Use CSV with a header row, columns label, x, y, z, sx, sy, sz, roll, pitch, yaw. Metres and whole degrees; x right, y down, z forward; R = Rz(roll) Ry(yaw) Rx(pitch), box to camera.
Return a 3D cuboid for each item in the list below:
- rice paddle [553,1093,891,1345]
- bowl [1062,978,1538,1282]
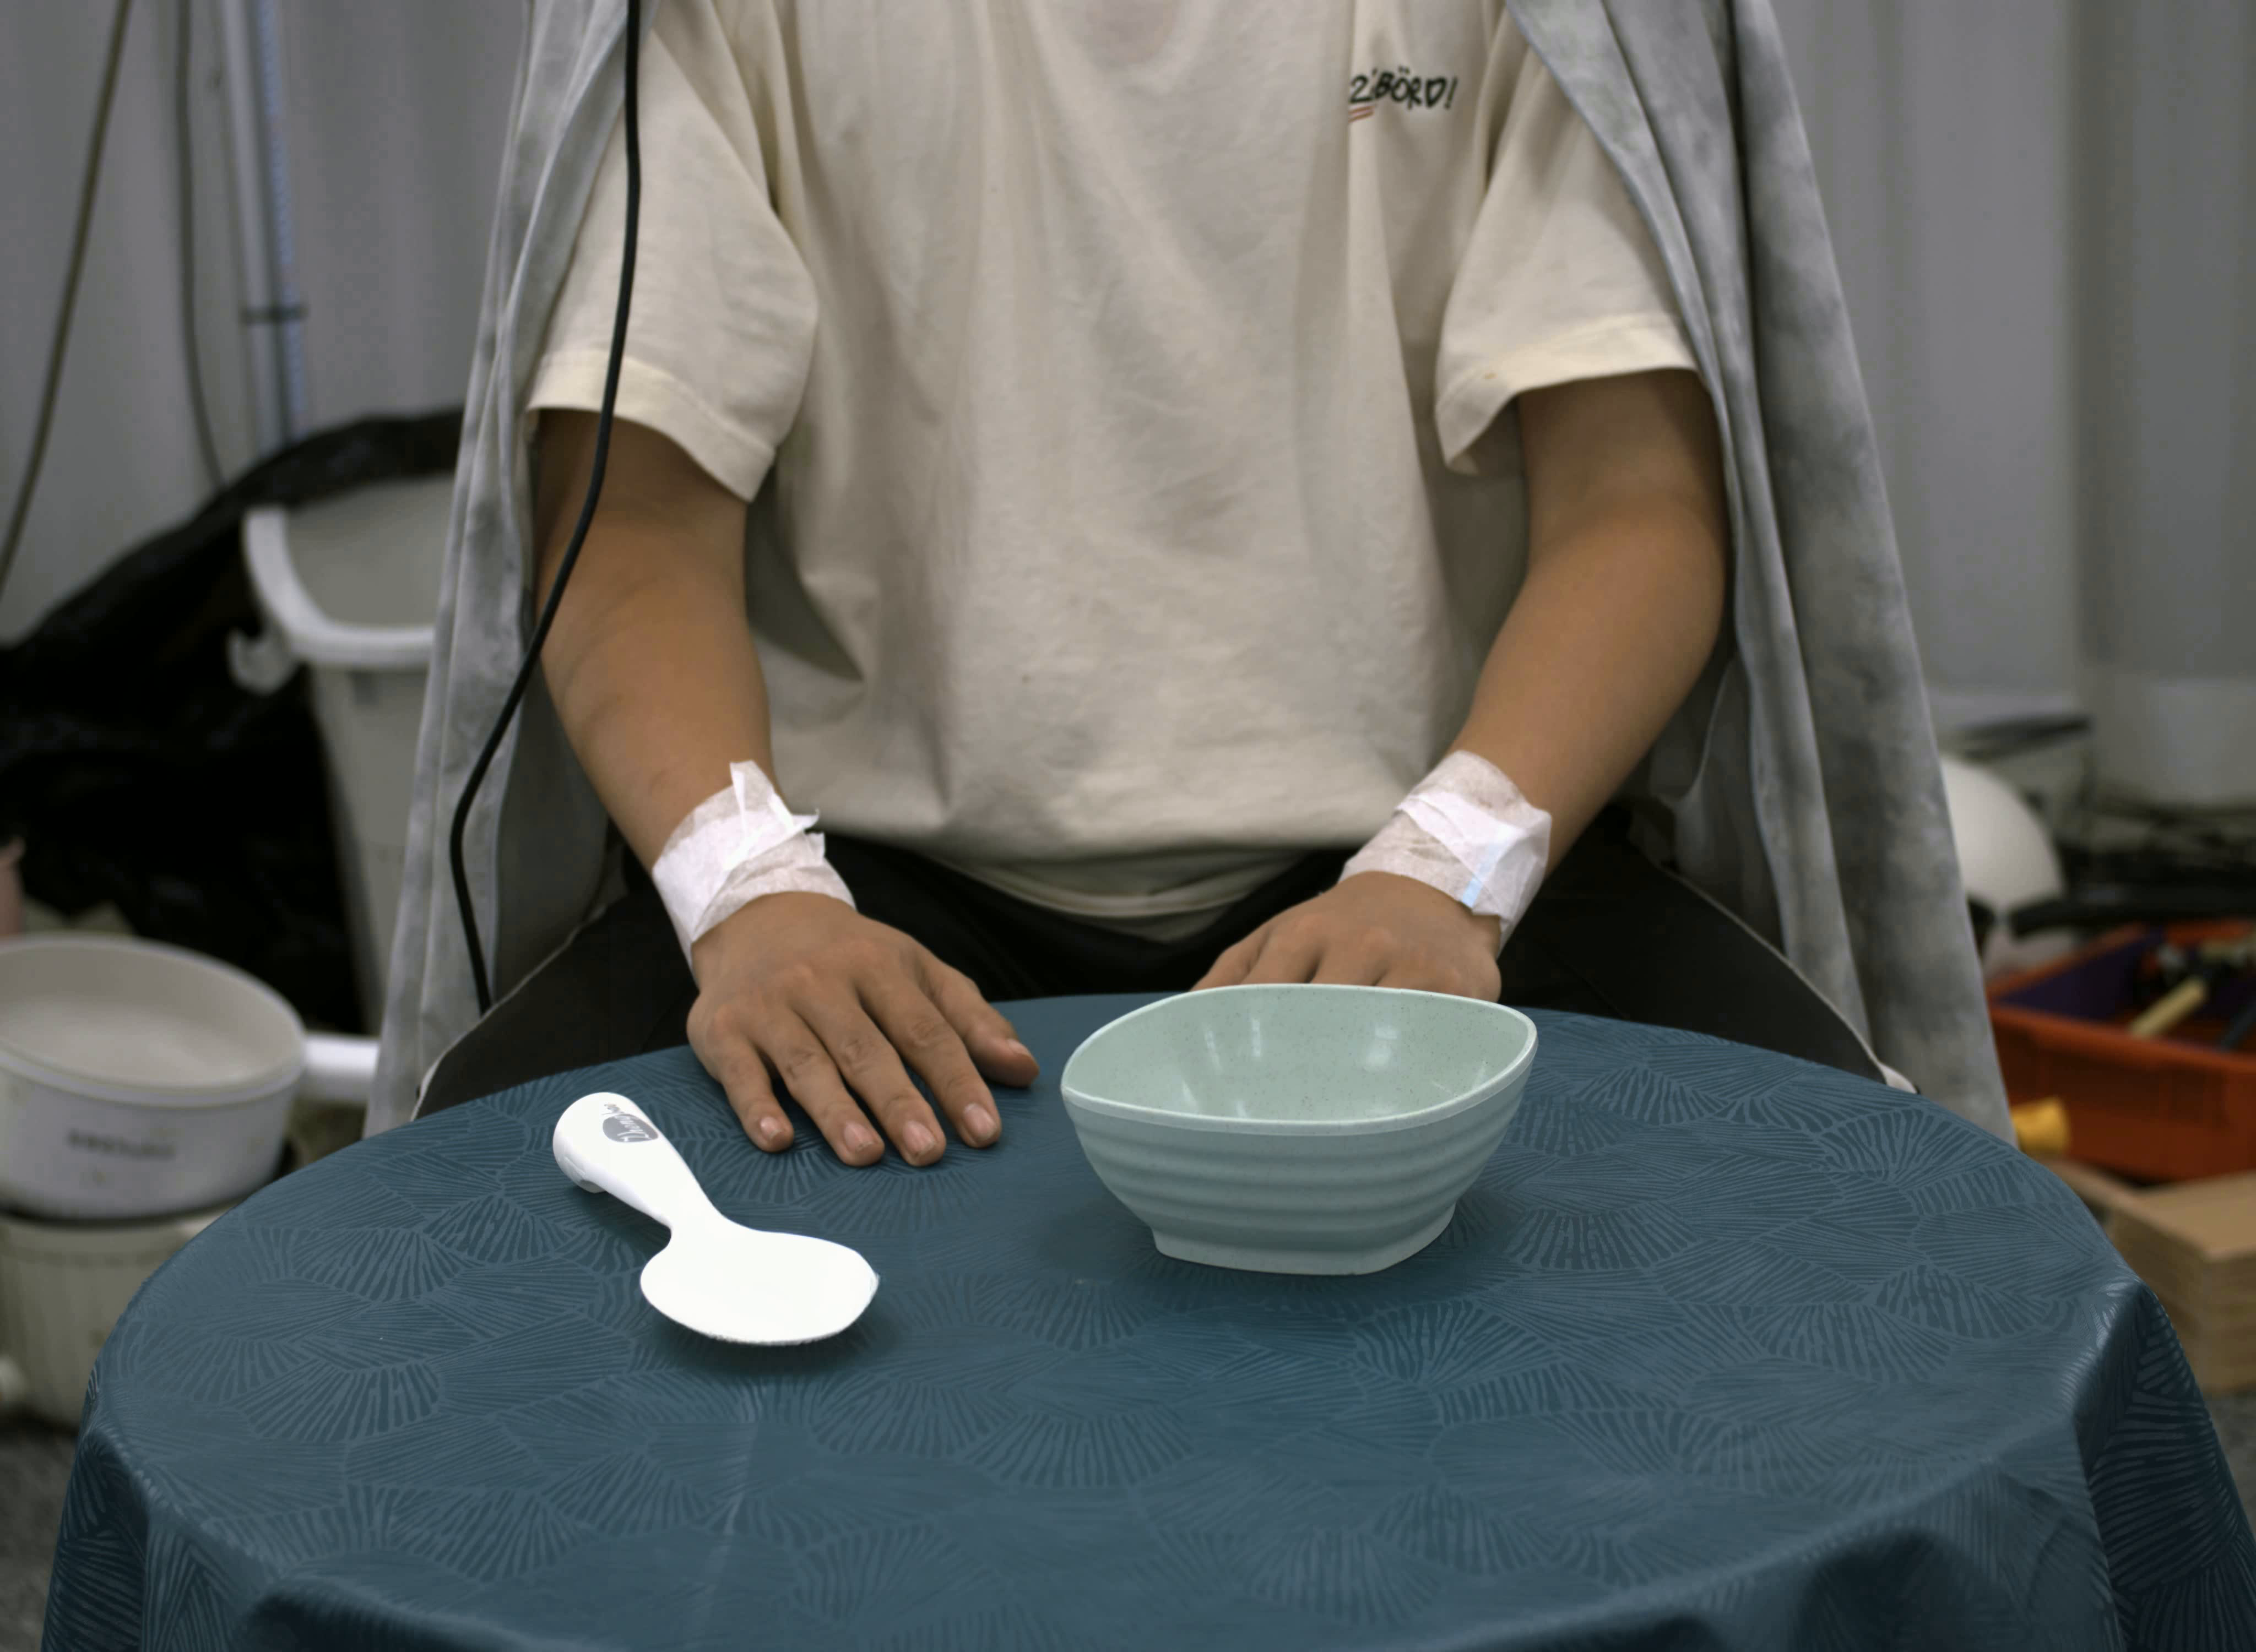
label,x,y,z,sx,sy,sz,roll,pitch,yaw
rice paddle,-0.129,0.121,1.661,0.068,0.029,0.207,-11,16,-21
bowl,0.054,0.096,1.670,0.151,0.058,0.152,-4,16,1
